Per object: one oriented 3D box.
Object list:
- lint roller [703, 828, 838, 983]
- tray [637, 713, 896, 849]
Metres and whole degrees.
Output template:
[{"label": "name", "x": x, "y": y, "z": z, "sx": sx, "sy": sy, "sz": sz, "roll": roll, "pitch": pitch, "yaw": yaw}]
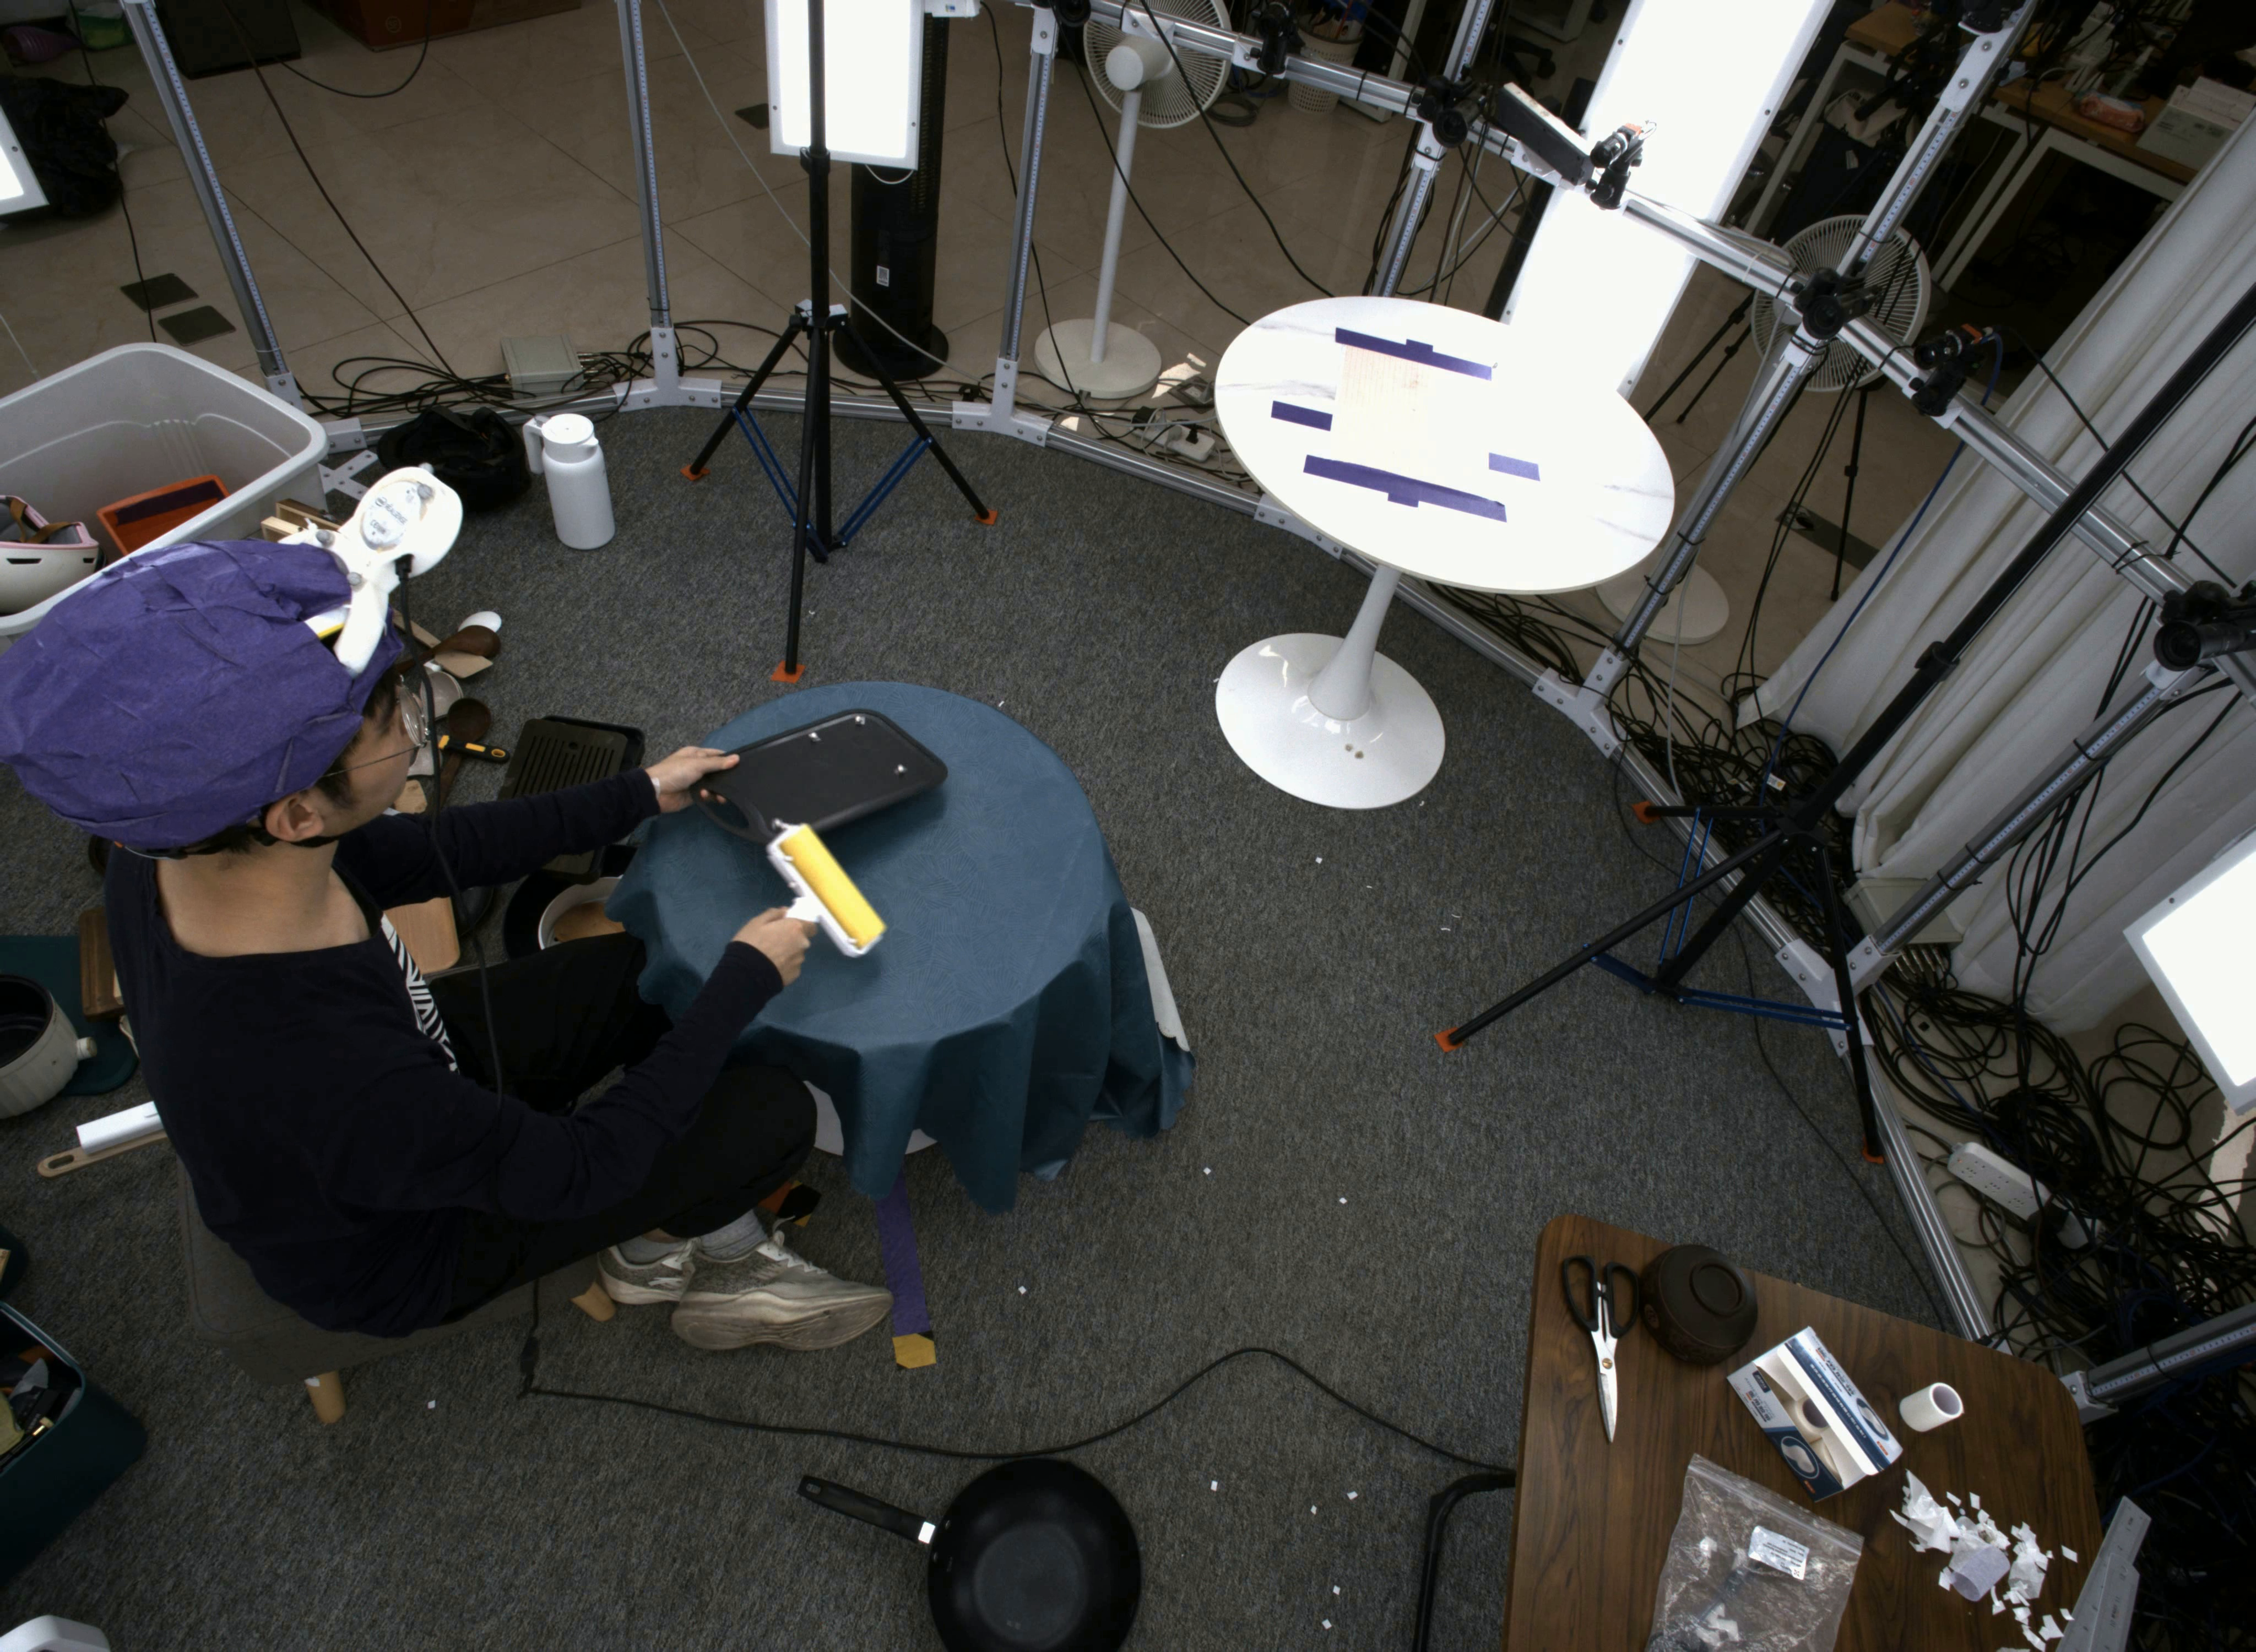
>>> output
[{"label": "lint roller", "x": -0.435, "y": 0.111, "z": 1.504, "sx": 0.179, "sy": 0.051, "sz": 0.189, "roll": 52, "pitch": 24, "yaw": -18}, {"label": "tray", "x": -0.477, "y": -0.064, "z": 1.695, "sx": 0.204, "sy": 0.010, "sz": 0.327, "roll": 33, "pitch": 42, "yaw": 29}]
